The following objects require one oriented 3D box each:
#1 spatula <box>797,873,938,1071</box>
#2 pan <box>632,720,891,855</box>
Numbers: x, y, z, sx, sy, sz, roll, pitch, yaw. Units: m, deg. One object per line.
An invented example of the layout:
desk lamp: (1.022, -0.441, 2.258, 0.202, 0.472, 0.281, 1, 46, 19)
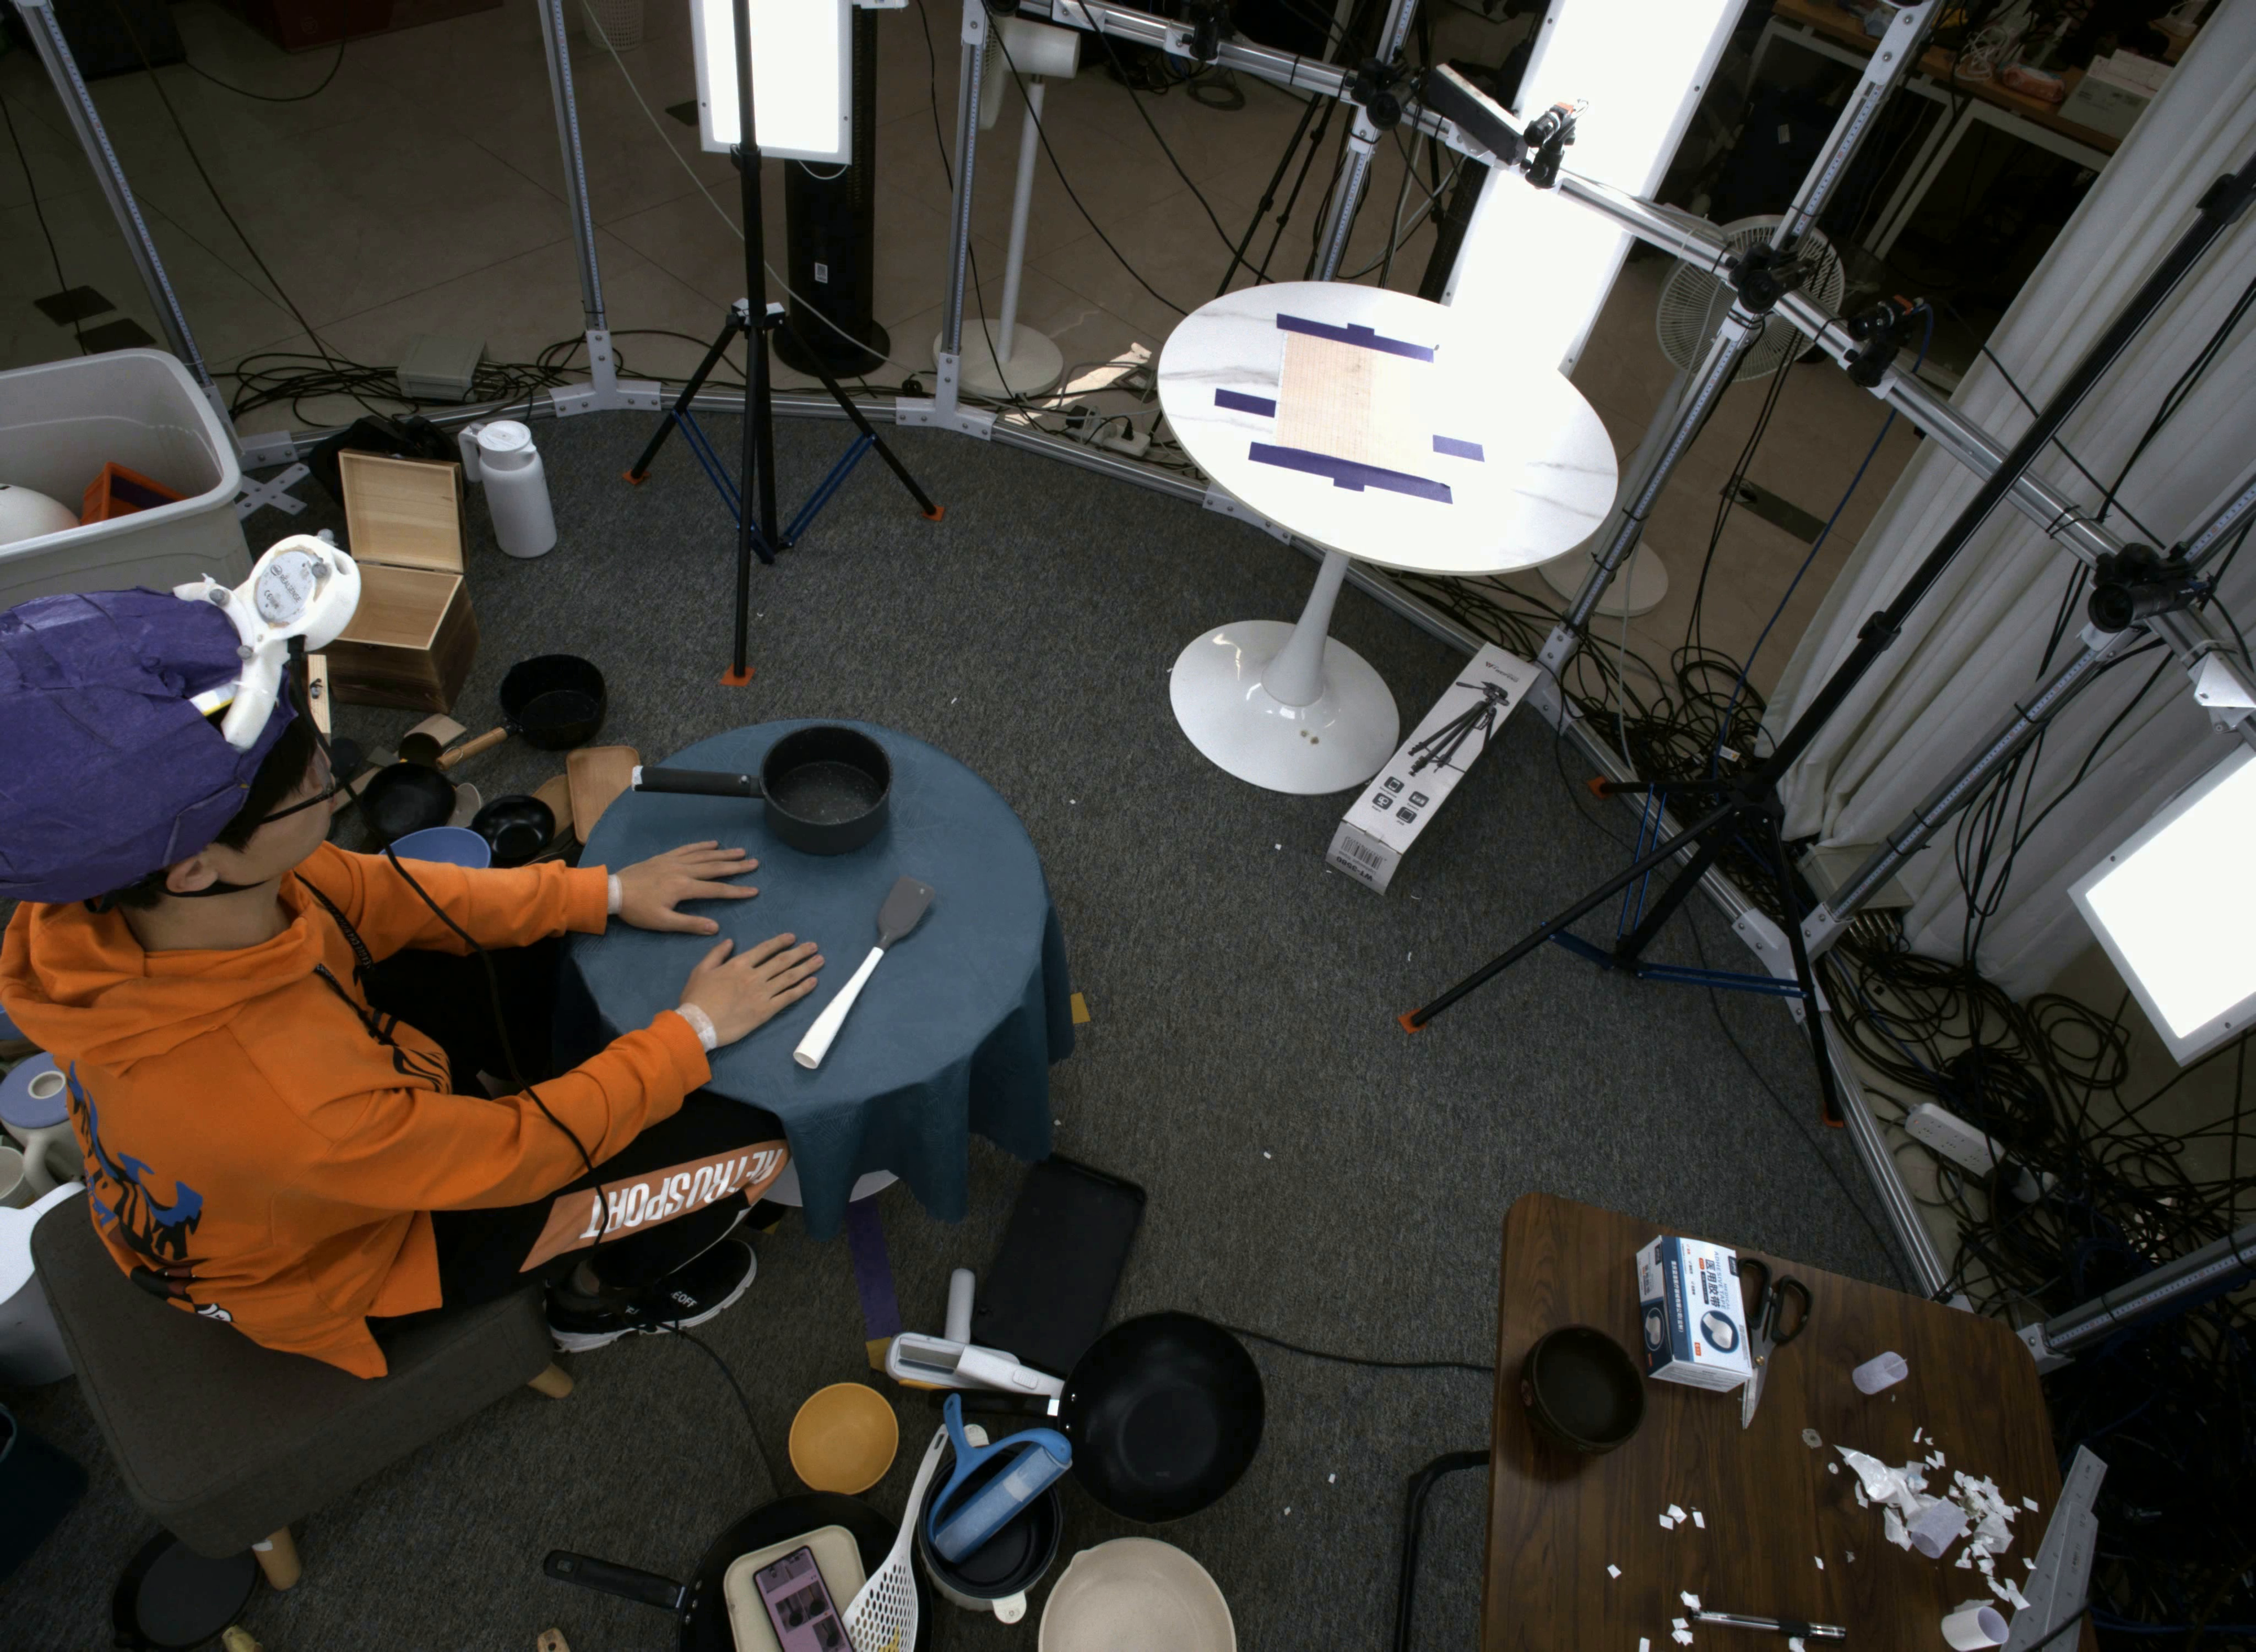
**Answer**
spatula: (-0.320, 0.172, 1.592, 0.057, 0.033, 0.285, 21, 52, 9)
pan: (-0.475, -0.050, 1.683, 0.330, 0.088, 0.168, 1, 53, -17)
